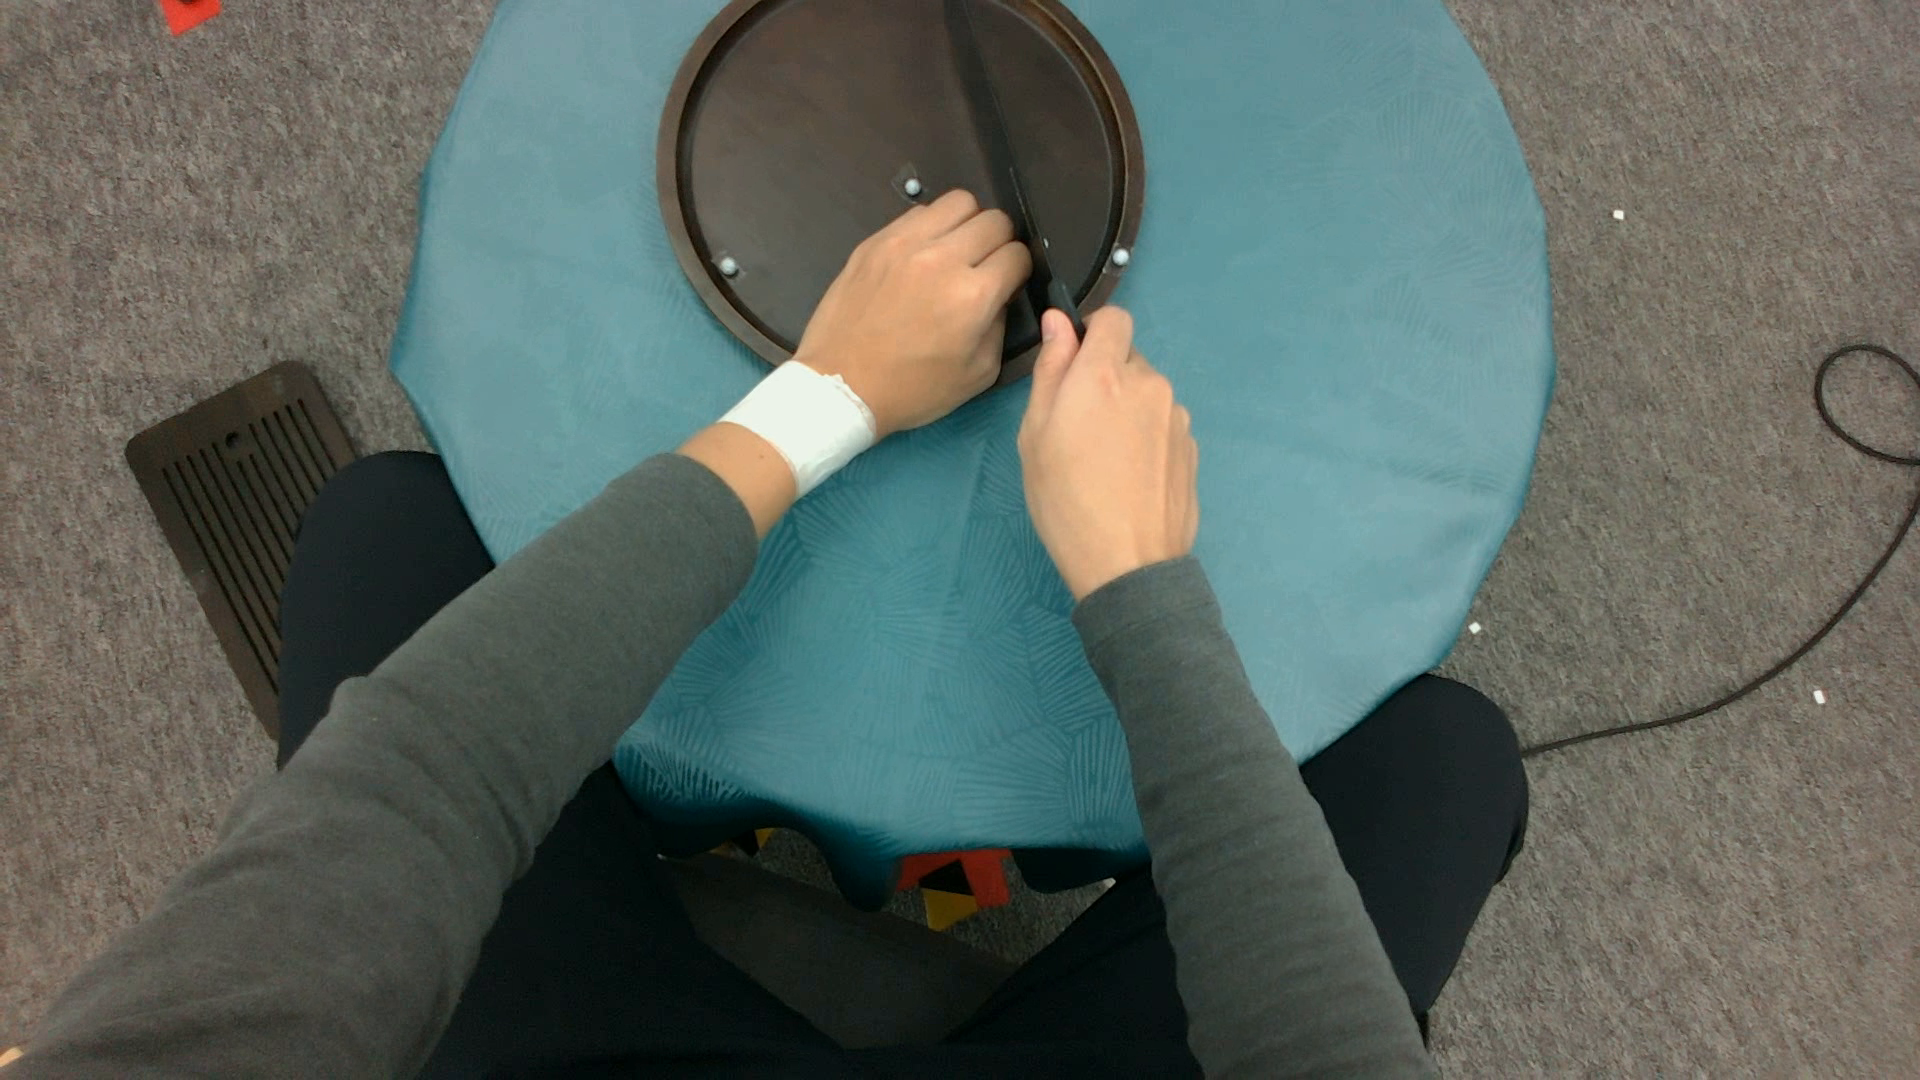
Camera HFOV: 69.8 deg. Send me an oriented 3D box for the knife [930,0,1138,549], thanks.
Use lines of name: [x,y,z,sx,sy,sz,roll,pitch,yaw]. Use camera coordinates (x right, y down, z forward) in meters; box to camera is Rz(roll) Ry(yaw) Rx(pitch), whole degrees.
knife: [0.030,-0.140,0.668,0.021,0.081,0.303,-16,78,-6]

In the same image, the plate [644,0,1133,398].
plate: [-0.036,-0.195,0.721,0.255,0.029,0.255,1,79,-6]
